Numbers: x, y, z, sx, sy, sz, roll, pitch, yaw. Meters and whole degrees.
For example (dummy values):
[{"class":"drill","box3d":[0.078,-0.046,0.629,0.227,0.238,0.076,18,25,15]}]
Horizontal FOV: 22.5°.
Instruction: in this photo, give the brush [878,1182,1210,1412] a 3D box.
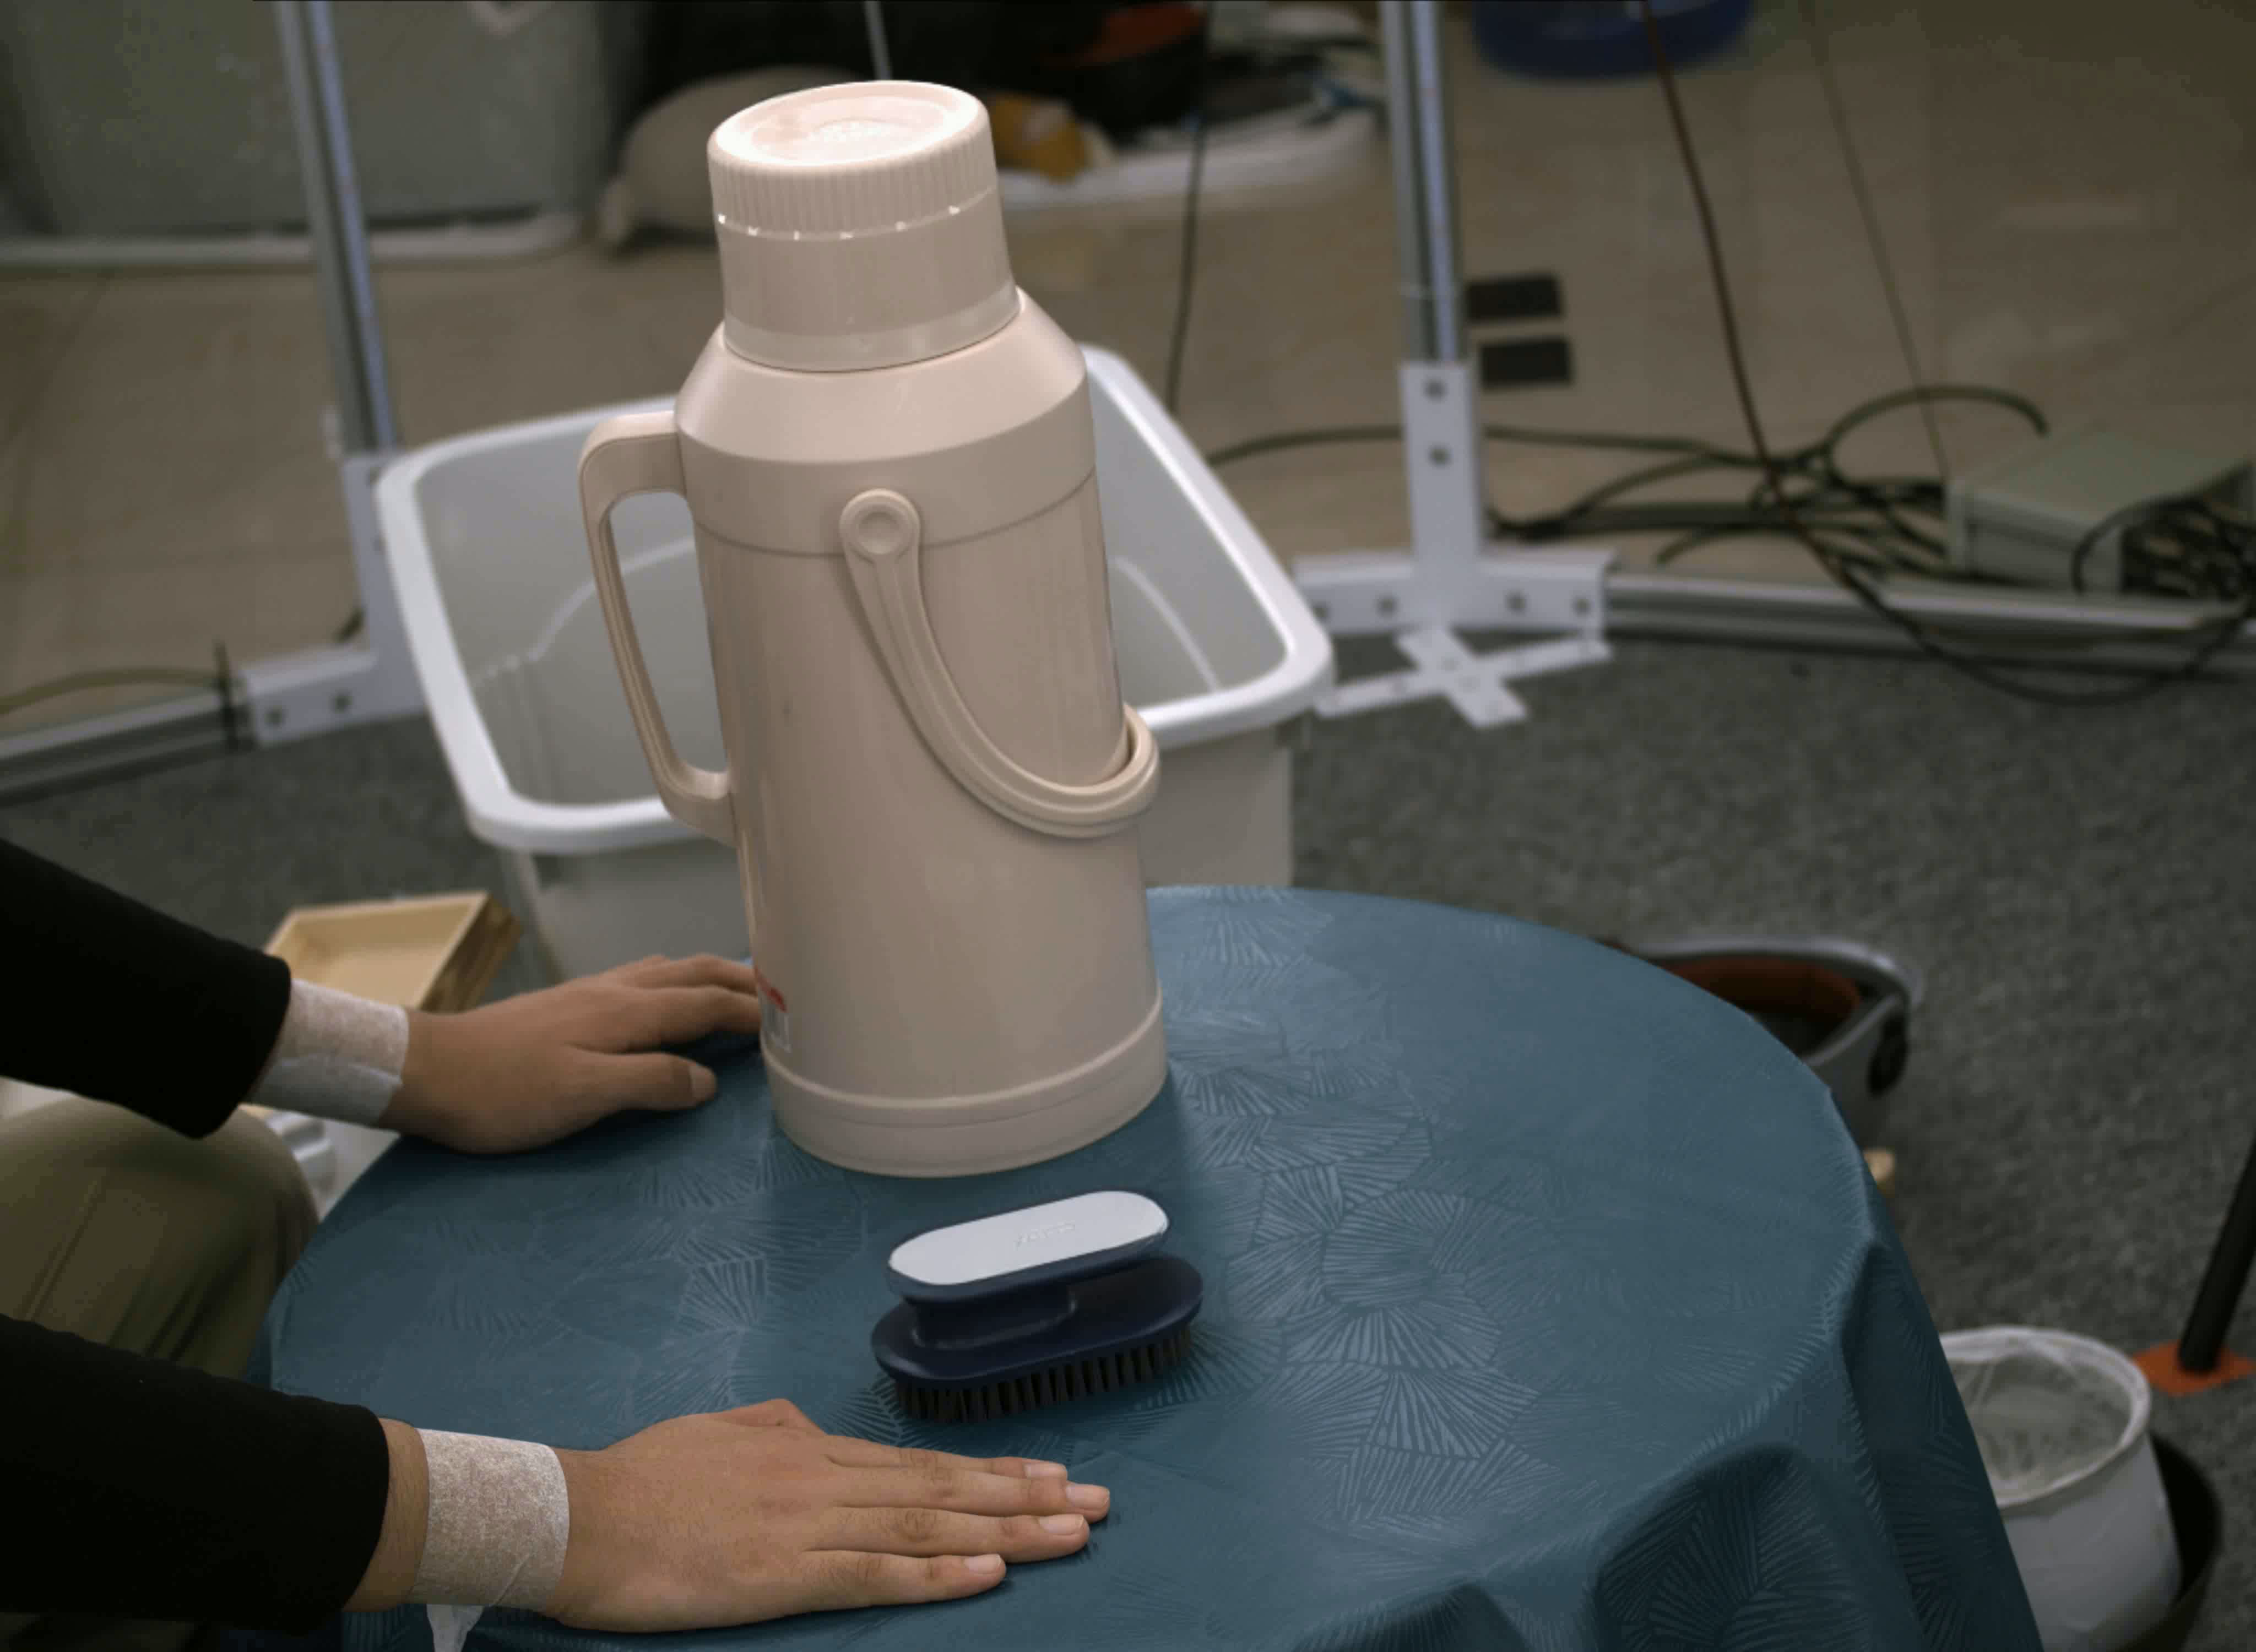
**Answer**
[{"class":"brush","box3d":[-0.030,0.170,2.023,0.121,0.062,0.067,-11,23,-11]}]

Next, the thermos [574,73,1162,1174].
[{"class":"thermos","box3d":[-0.098,-0.077,2.158,0.207,0.413,0.172,-5,27,1]}]
